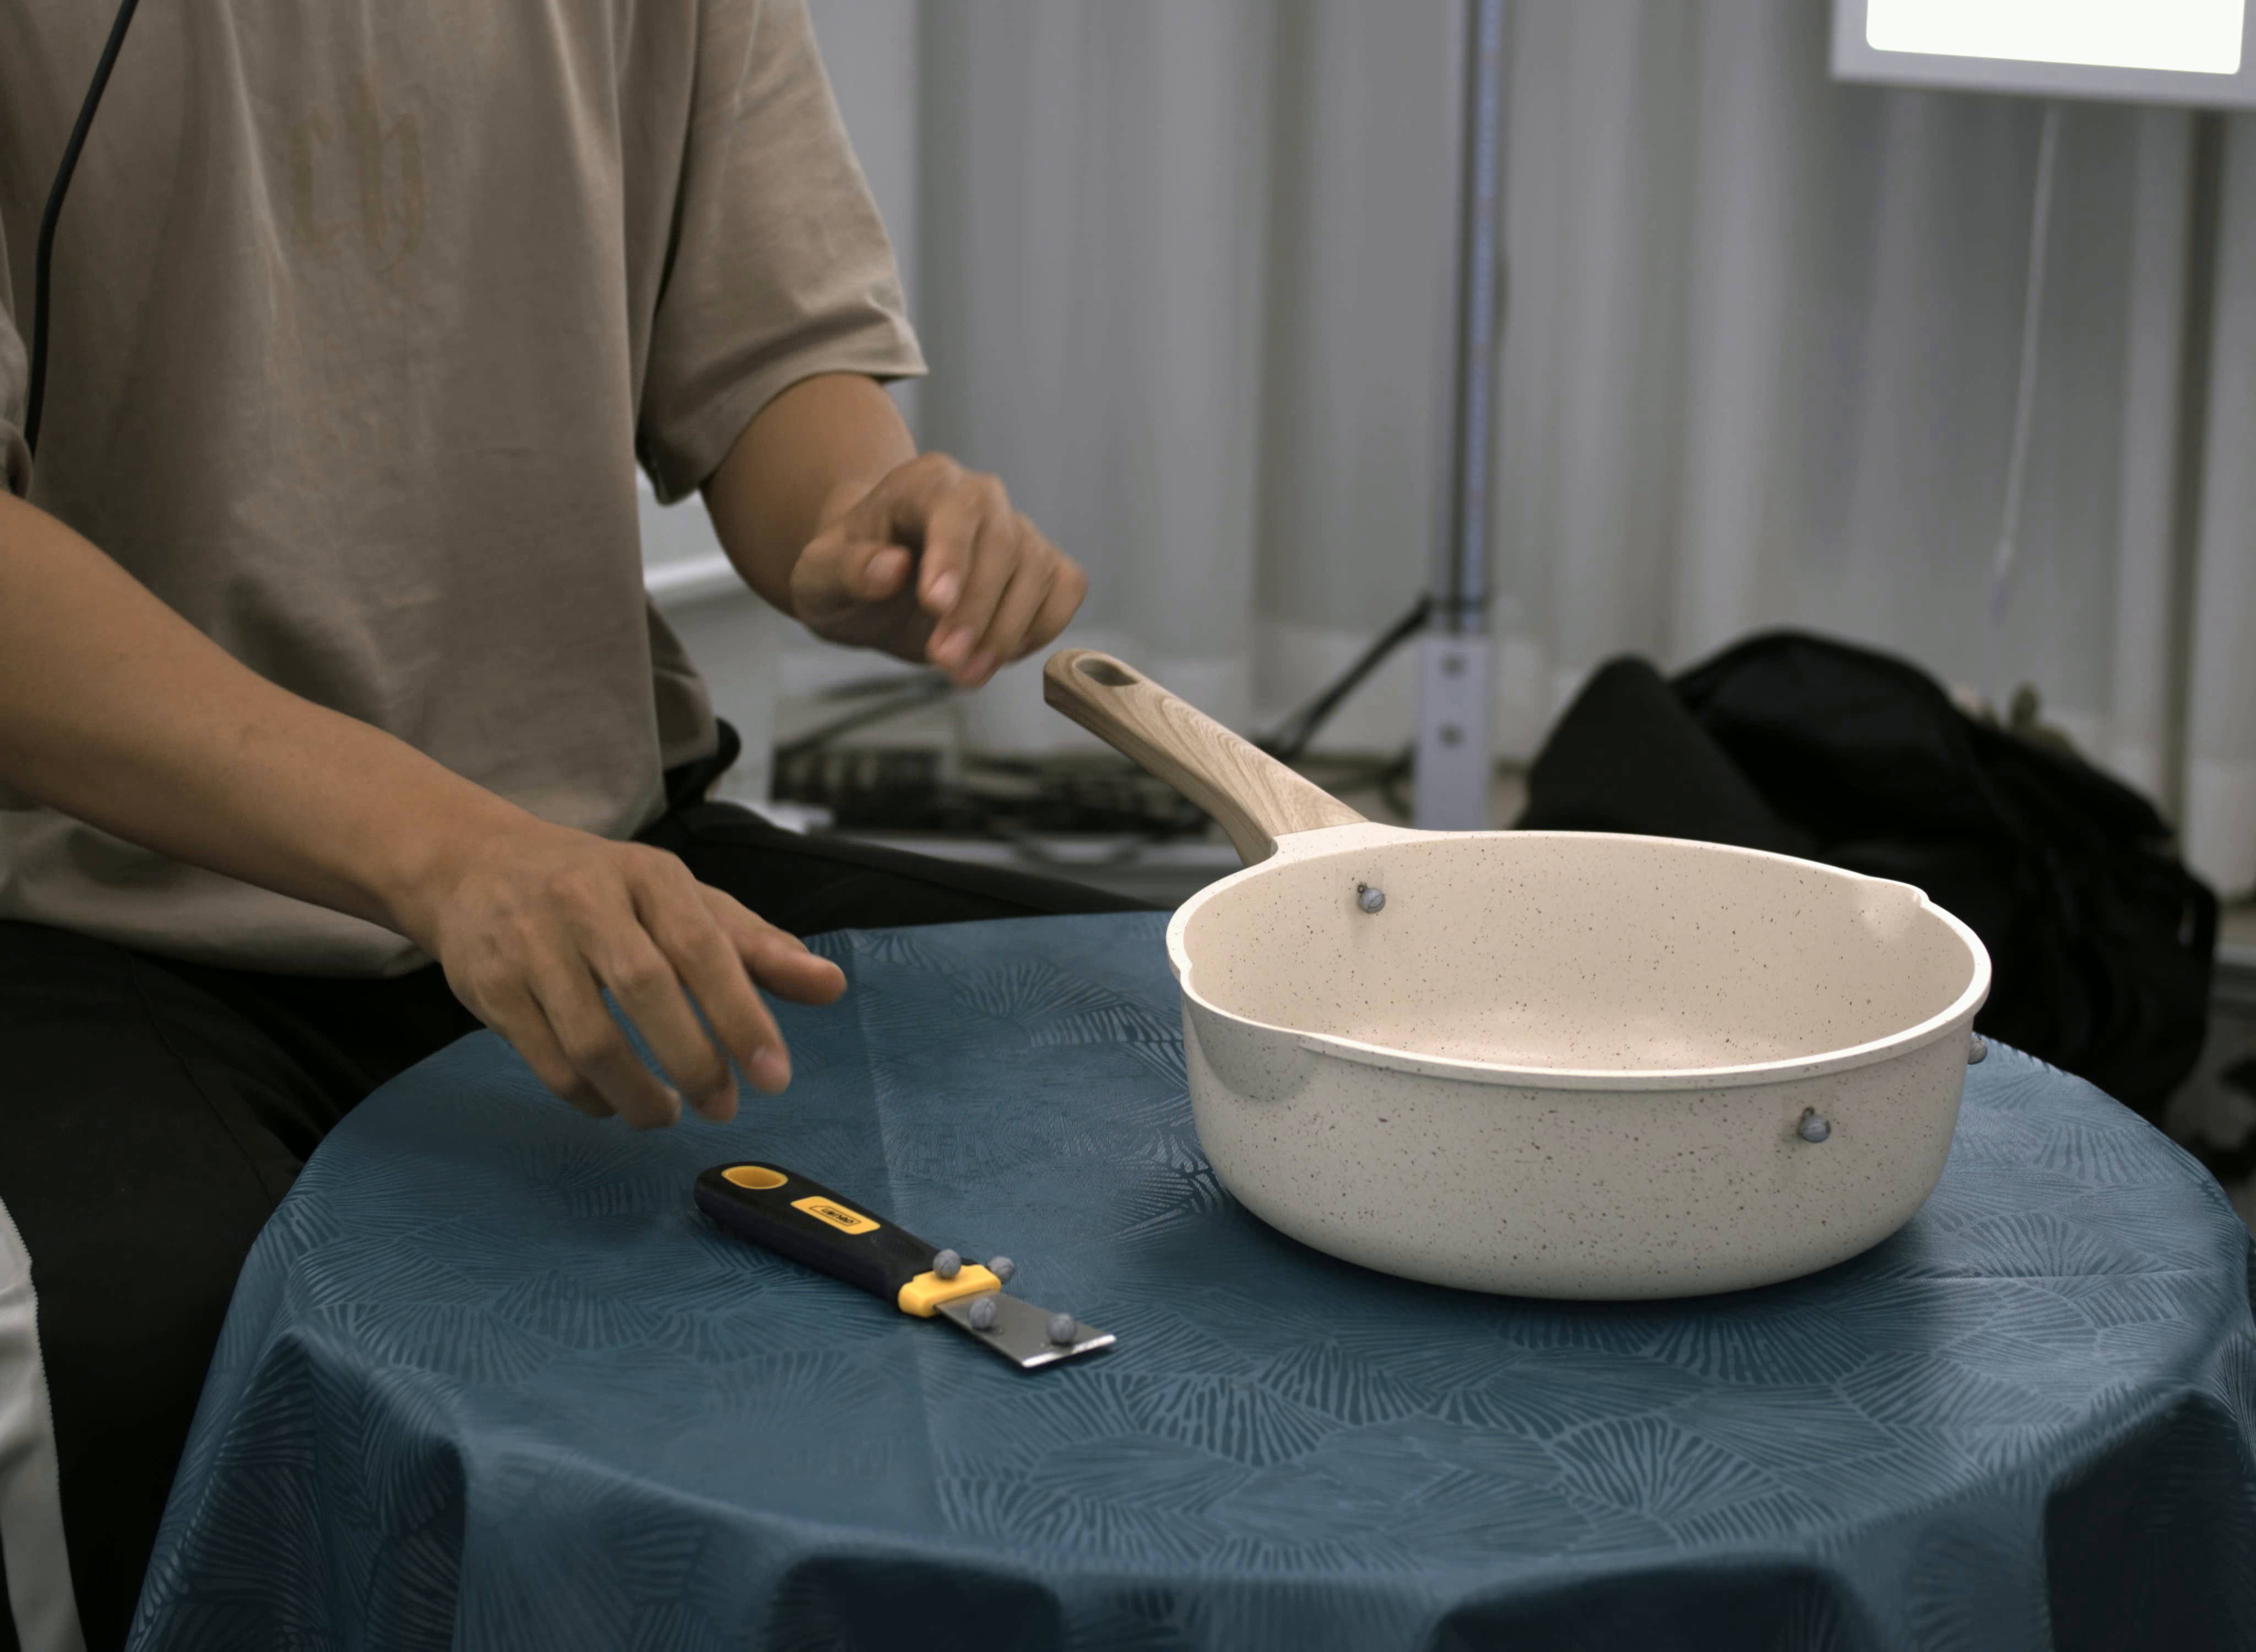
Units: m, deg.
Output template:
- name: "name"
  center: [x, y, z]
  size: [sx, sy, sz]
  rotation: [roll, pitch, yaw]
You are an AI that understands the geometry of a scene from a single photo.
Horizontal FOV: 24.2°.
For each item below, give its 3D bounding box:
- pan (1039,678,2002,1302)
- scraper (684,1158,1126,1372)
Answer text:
- name: "pan"
  center: [0.094, 0.046, 1.693]
  size: [0.264, 0.103, 0.429]
  rotation: [-11, 20, -30]
- name: "scraper"
  center: [-0.071, 0.127, 1.539]
  size: [0.039, 0.015, 0.168]
  rotation: [-22, 29, -39]
